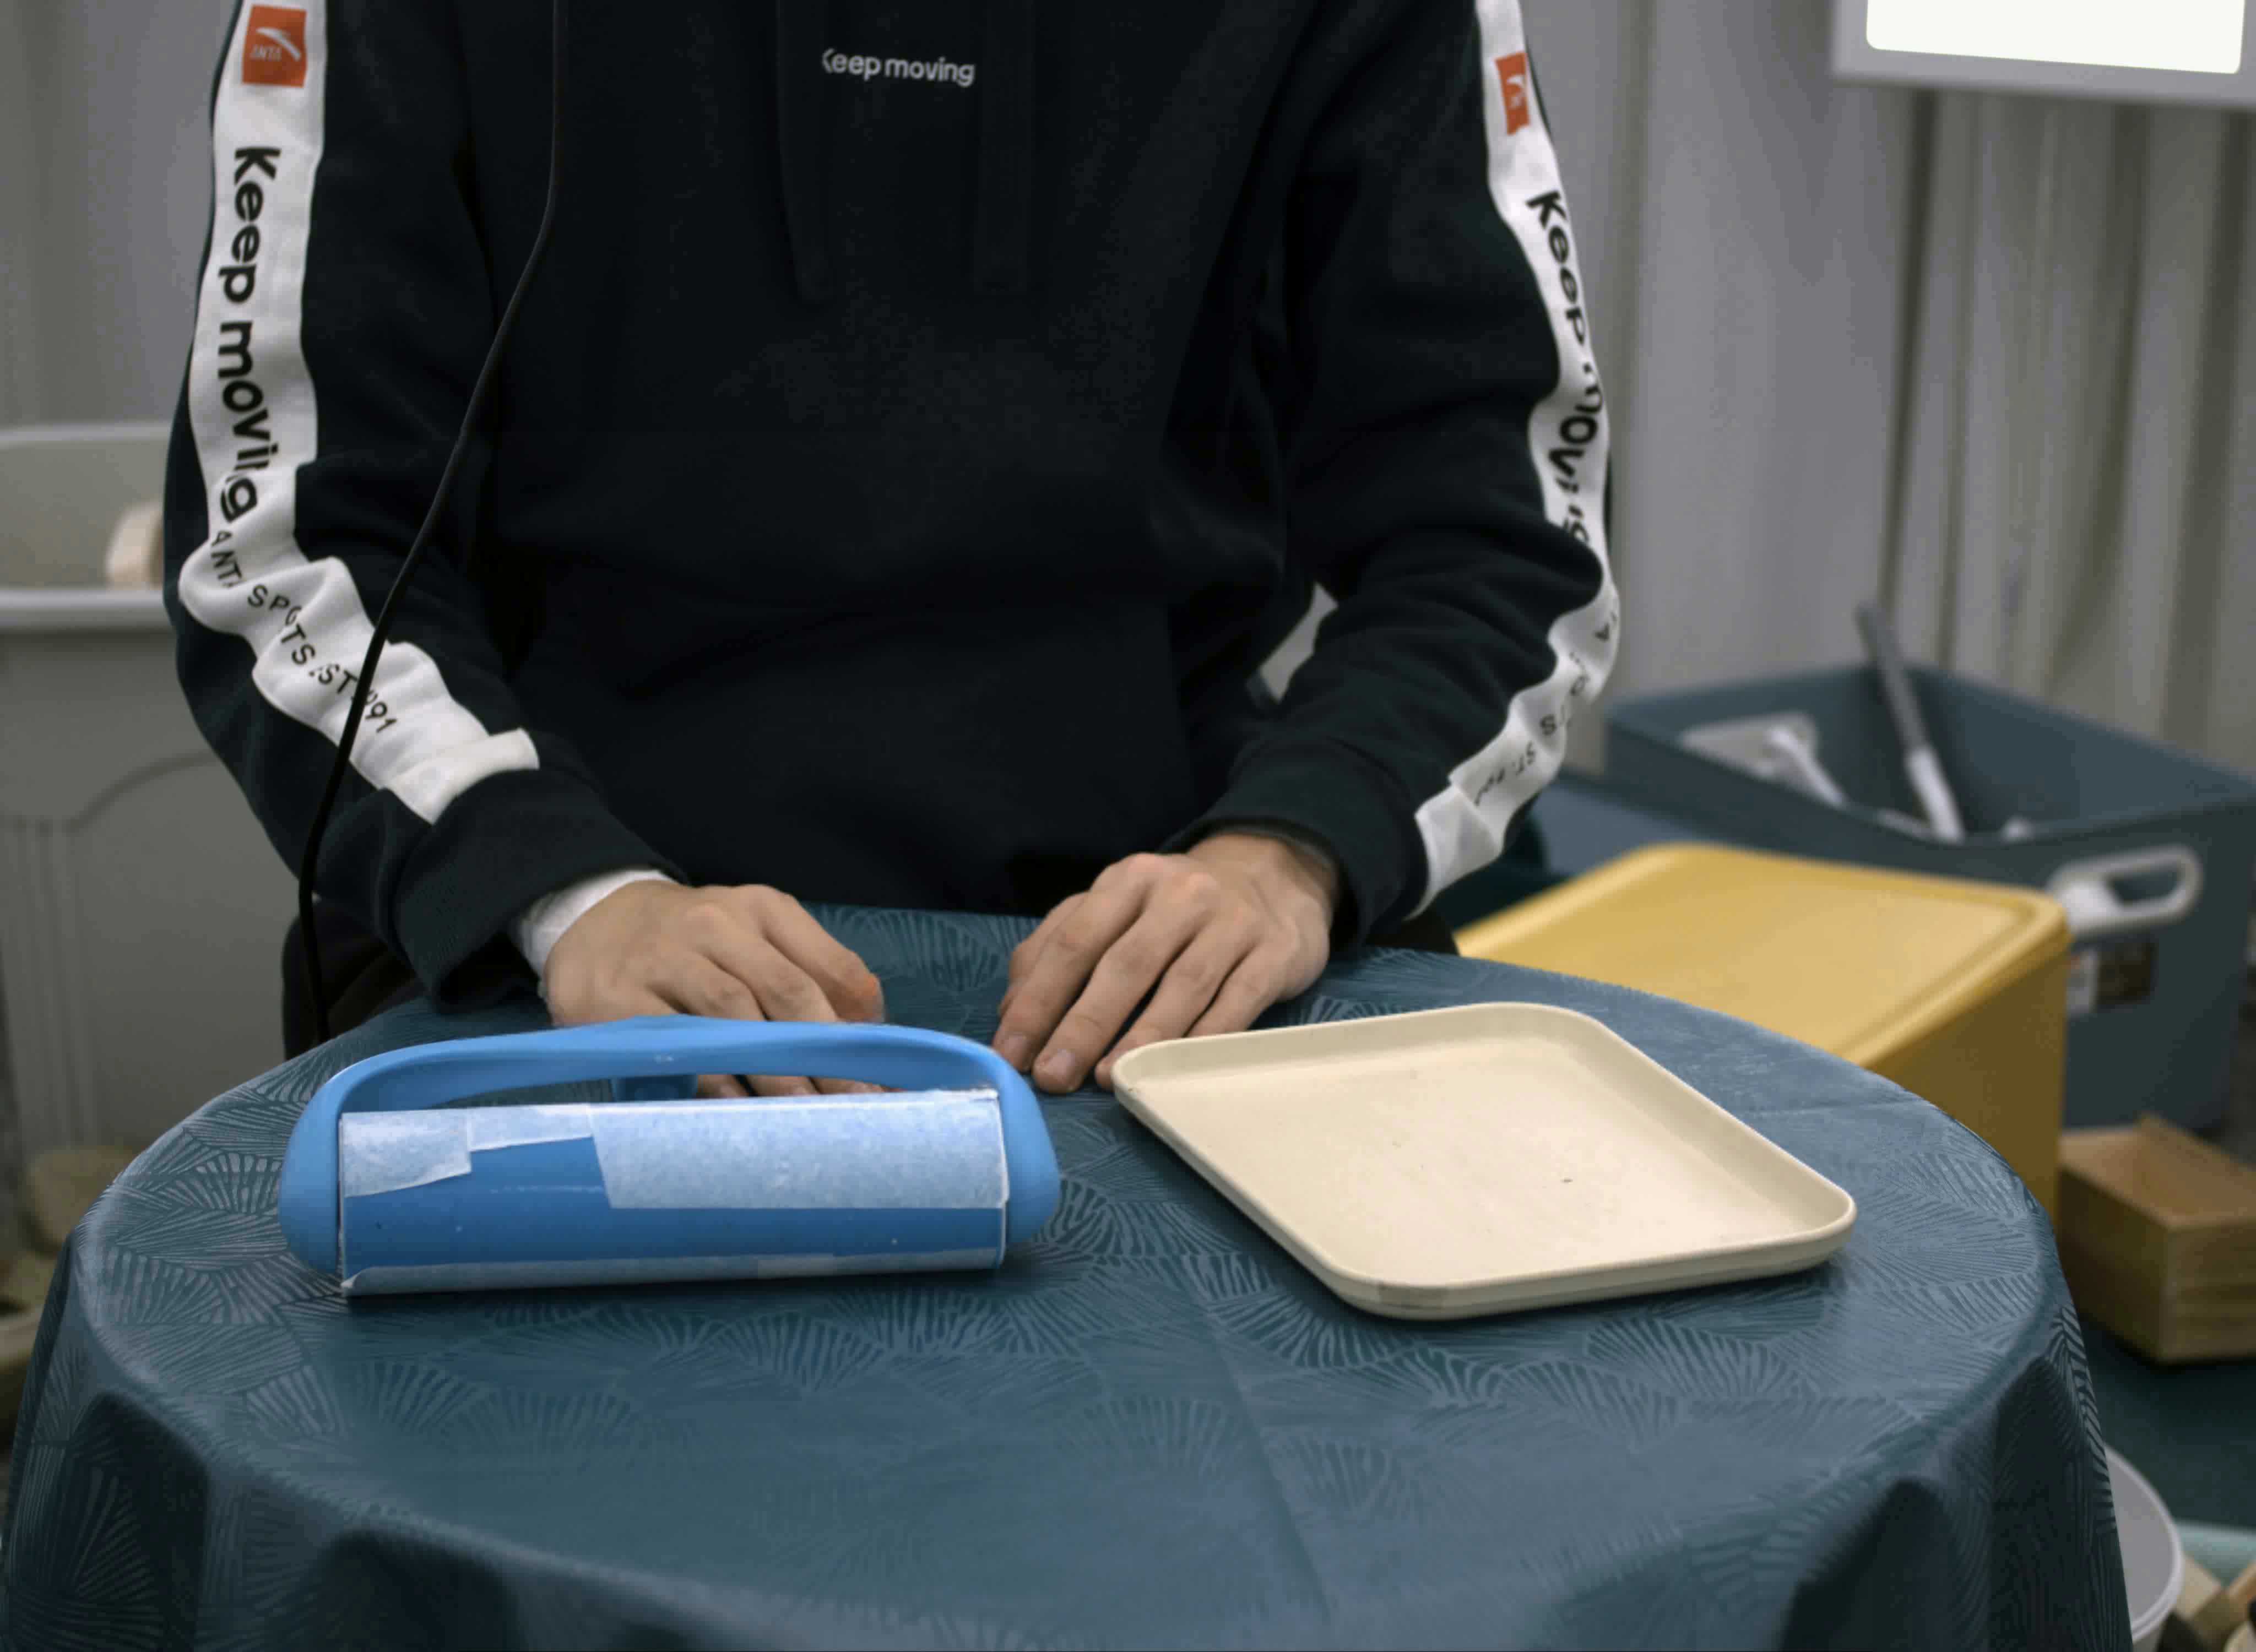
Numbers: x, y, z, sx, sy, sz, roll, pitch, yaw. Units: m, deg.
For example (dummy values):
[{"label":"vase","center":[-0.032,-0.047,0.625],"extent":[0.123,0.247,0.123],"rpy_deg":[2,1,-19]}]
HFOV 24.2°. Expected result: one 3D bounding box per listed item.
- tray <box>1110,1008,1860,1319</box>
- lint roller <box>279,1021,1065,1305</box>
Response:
[{"label":"tray","center":[0.106,0.102,1.624],"extent":[0.172,0.017,0.237],"rpy_deg":[-5,16,-20]},{"label":"lint roller","center":[-0.142,0.089,1.590],"extent":[0.229,0.068,0.178],"rpy_deg":[-4,18,-10]}]
